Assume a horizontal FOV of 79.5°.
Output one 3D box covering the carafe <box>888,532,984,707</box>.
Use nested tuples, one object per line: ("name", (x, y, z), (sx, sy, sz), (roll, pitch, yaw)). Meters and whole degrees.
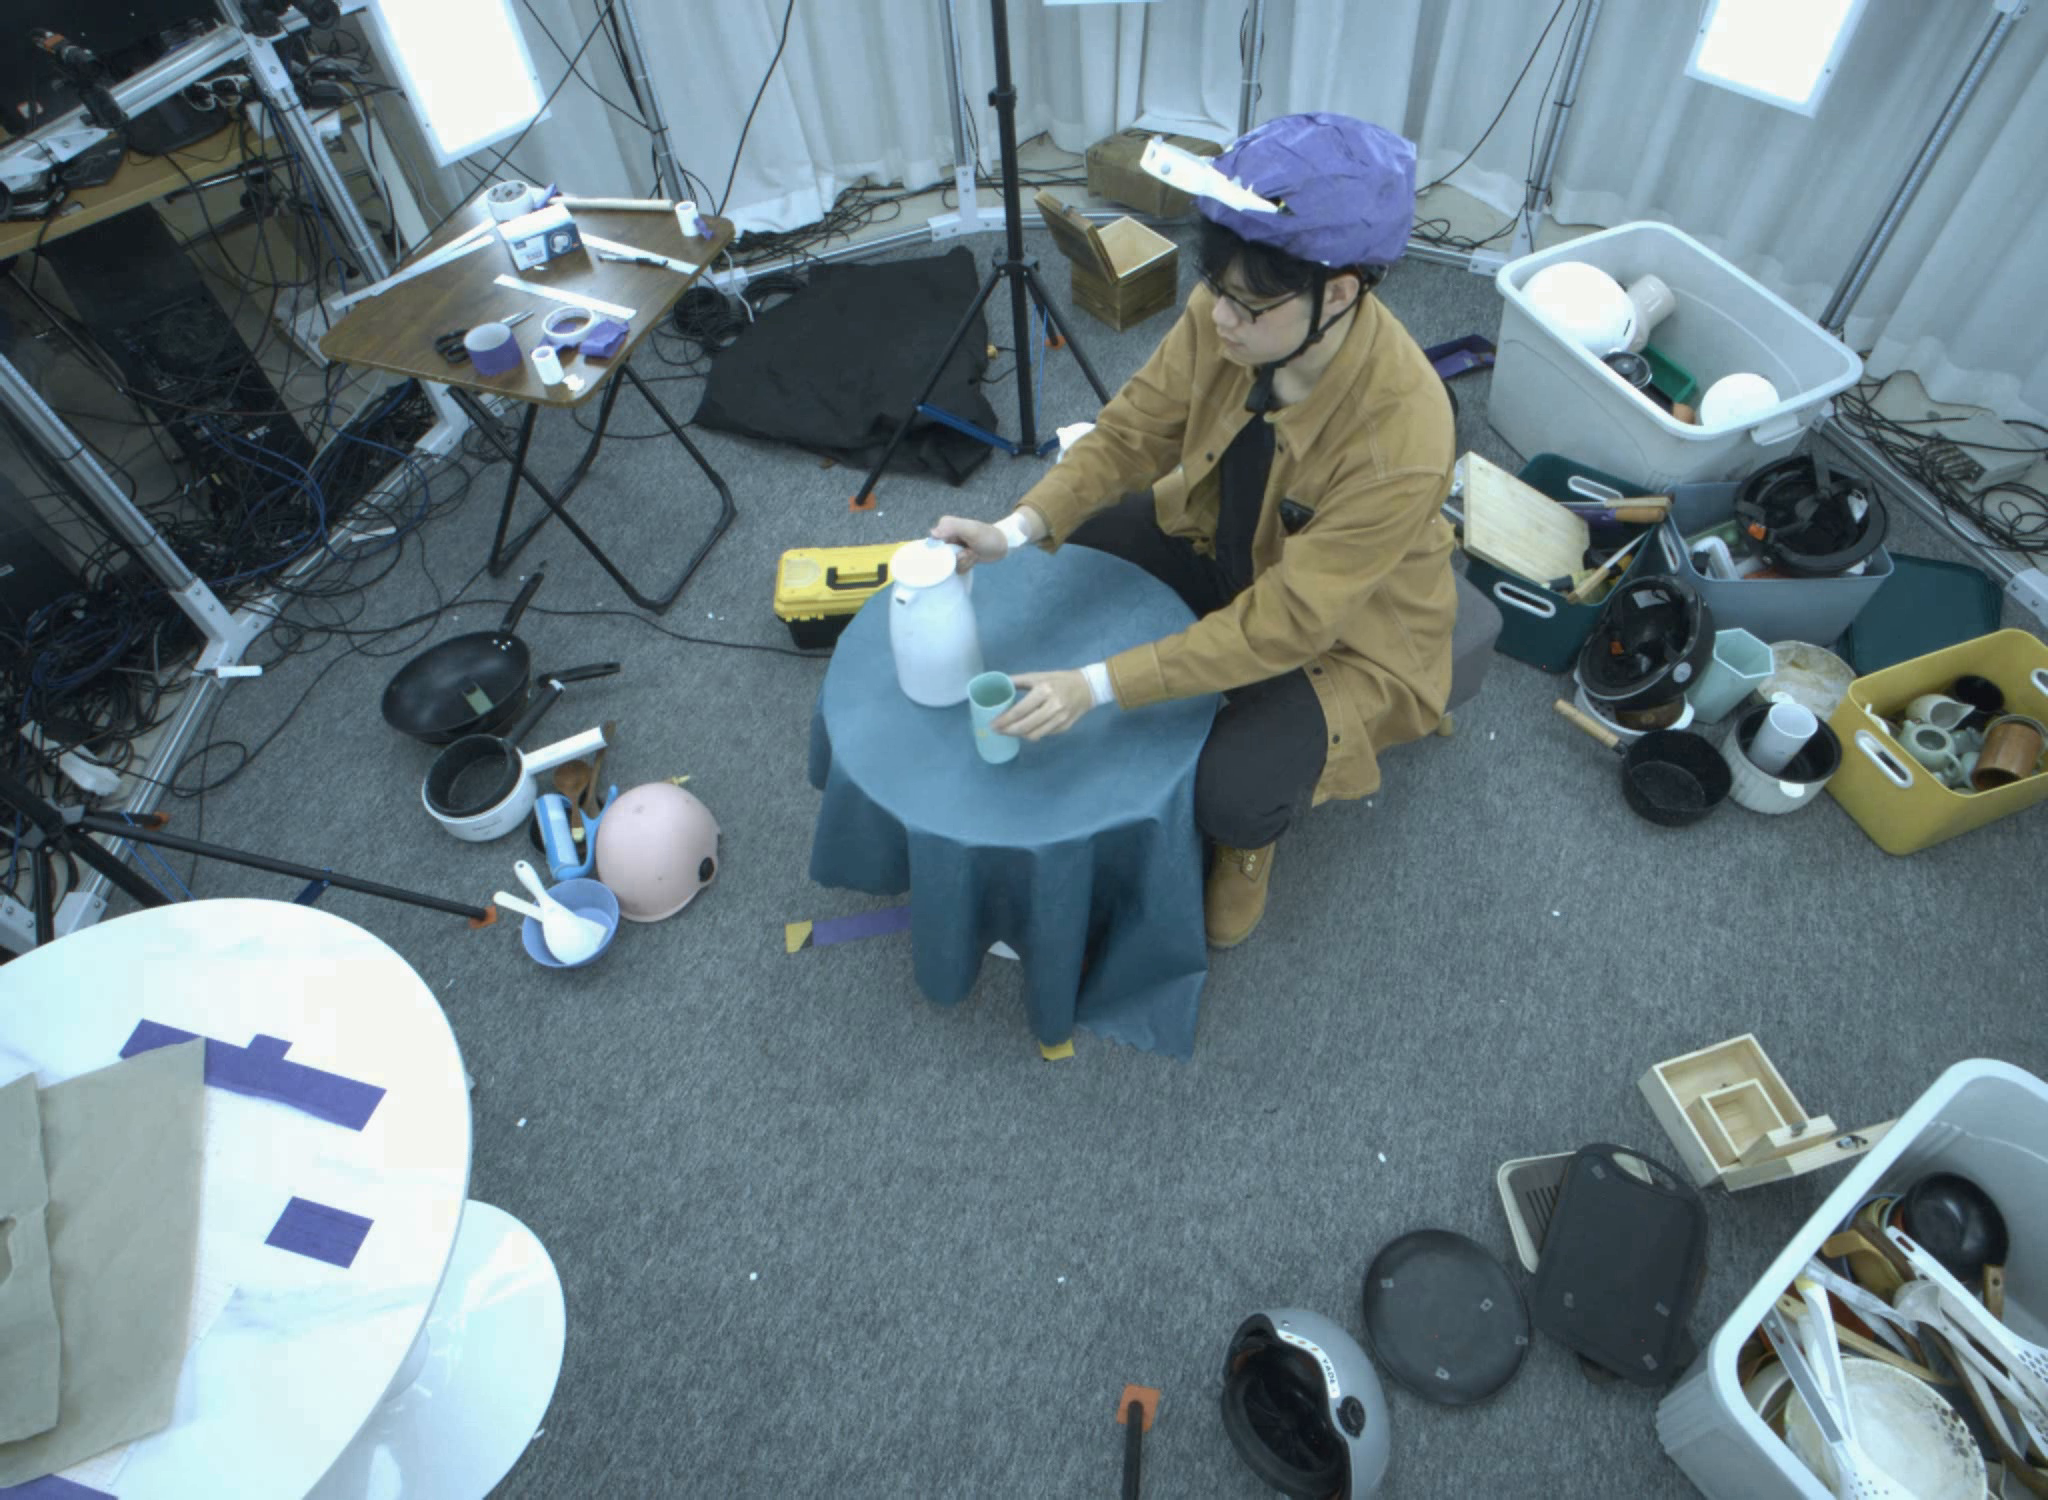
("carafe", (-0.127, -0.203, 1.779), (0.131, 0.251, 0.168), (21, 57, 18))

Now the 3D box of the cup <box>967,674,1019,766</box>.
("cup", (-0.041, -0.042, 1.738), (0.066, 0.134, 0.066), (-1, 55, 3))
